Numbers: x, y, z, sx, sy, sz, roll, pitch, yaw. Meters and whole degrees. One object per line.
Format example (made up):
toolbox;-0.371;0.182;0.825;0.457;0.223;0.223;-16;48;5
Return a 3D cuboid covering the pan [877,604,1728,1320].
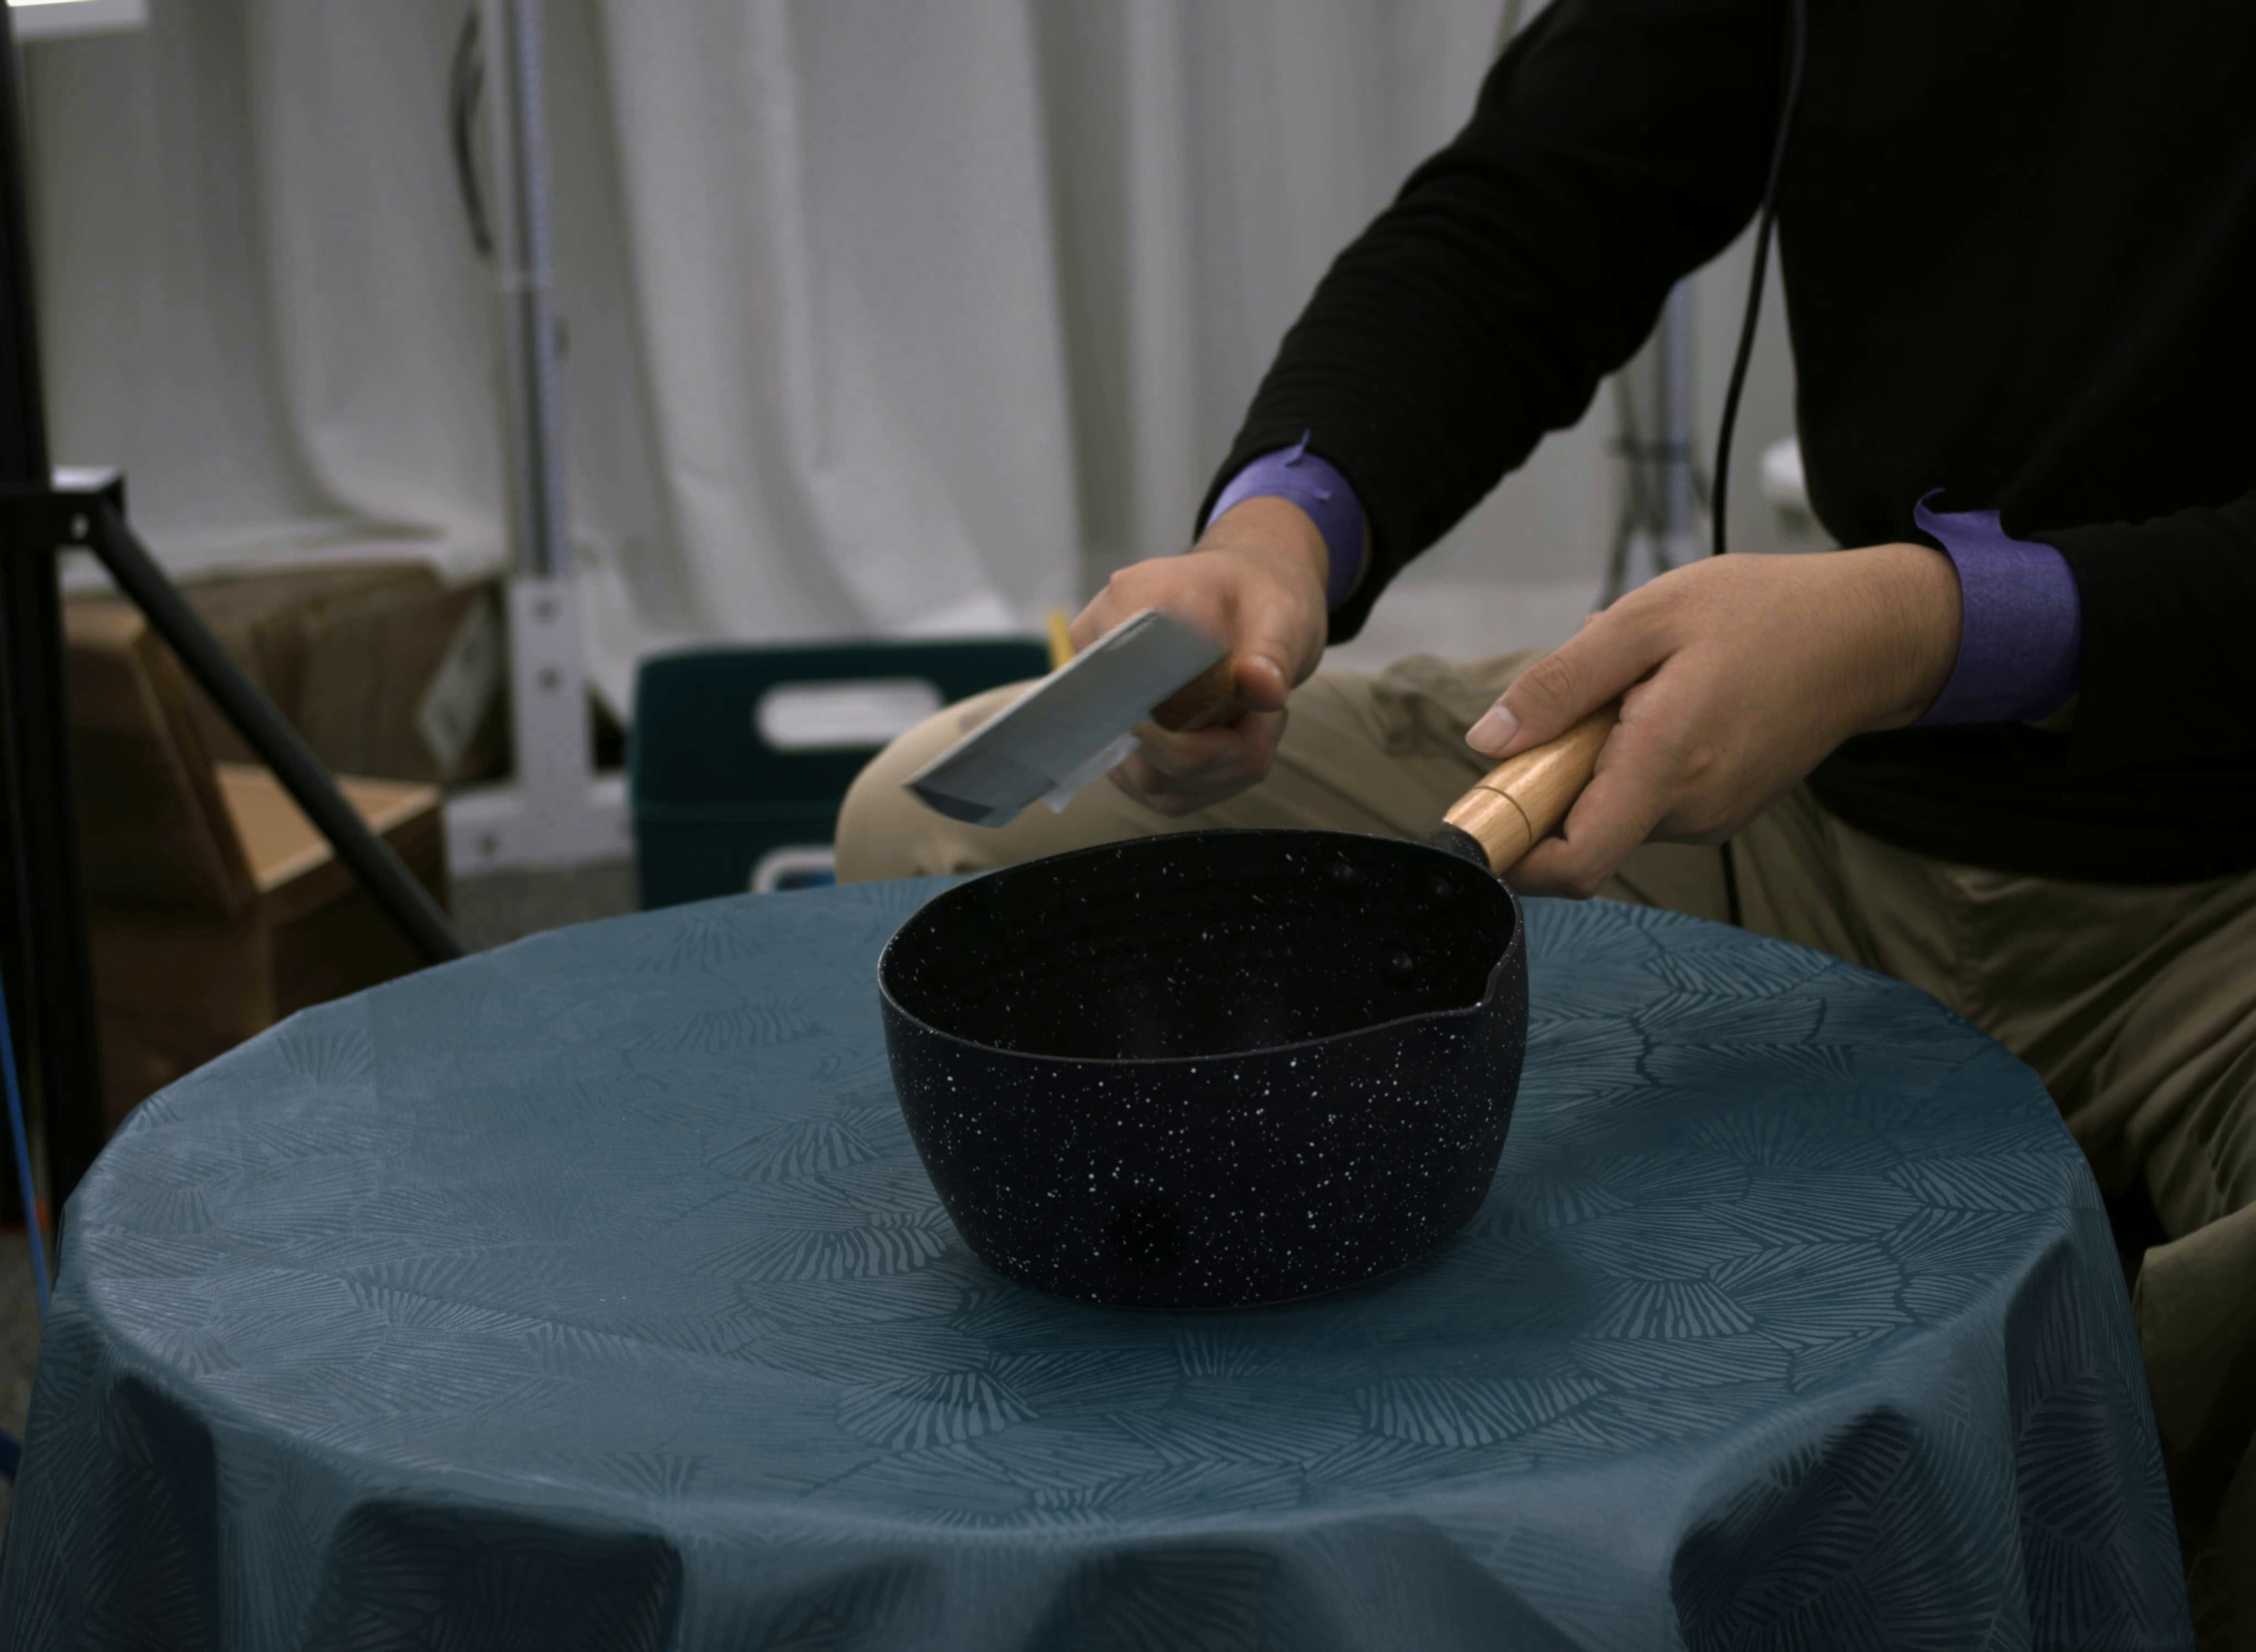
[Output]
pan;0.073;0.036;1.561;0.212;0.108;0.336;10;26;39

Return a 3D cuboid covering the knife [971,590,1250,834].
knife;-0.005;-0.029;1.623;0.093;0.021;0.304;-36;-6;2
